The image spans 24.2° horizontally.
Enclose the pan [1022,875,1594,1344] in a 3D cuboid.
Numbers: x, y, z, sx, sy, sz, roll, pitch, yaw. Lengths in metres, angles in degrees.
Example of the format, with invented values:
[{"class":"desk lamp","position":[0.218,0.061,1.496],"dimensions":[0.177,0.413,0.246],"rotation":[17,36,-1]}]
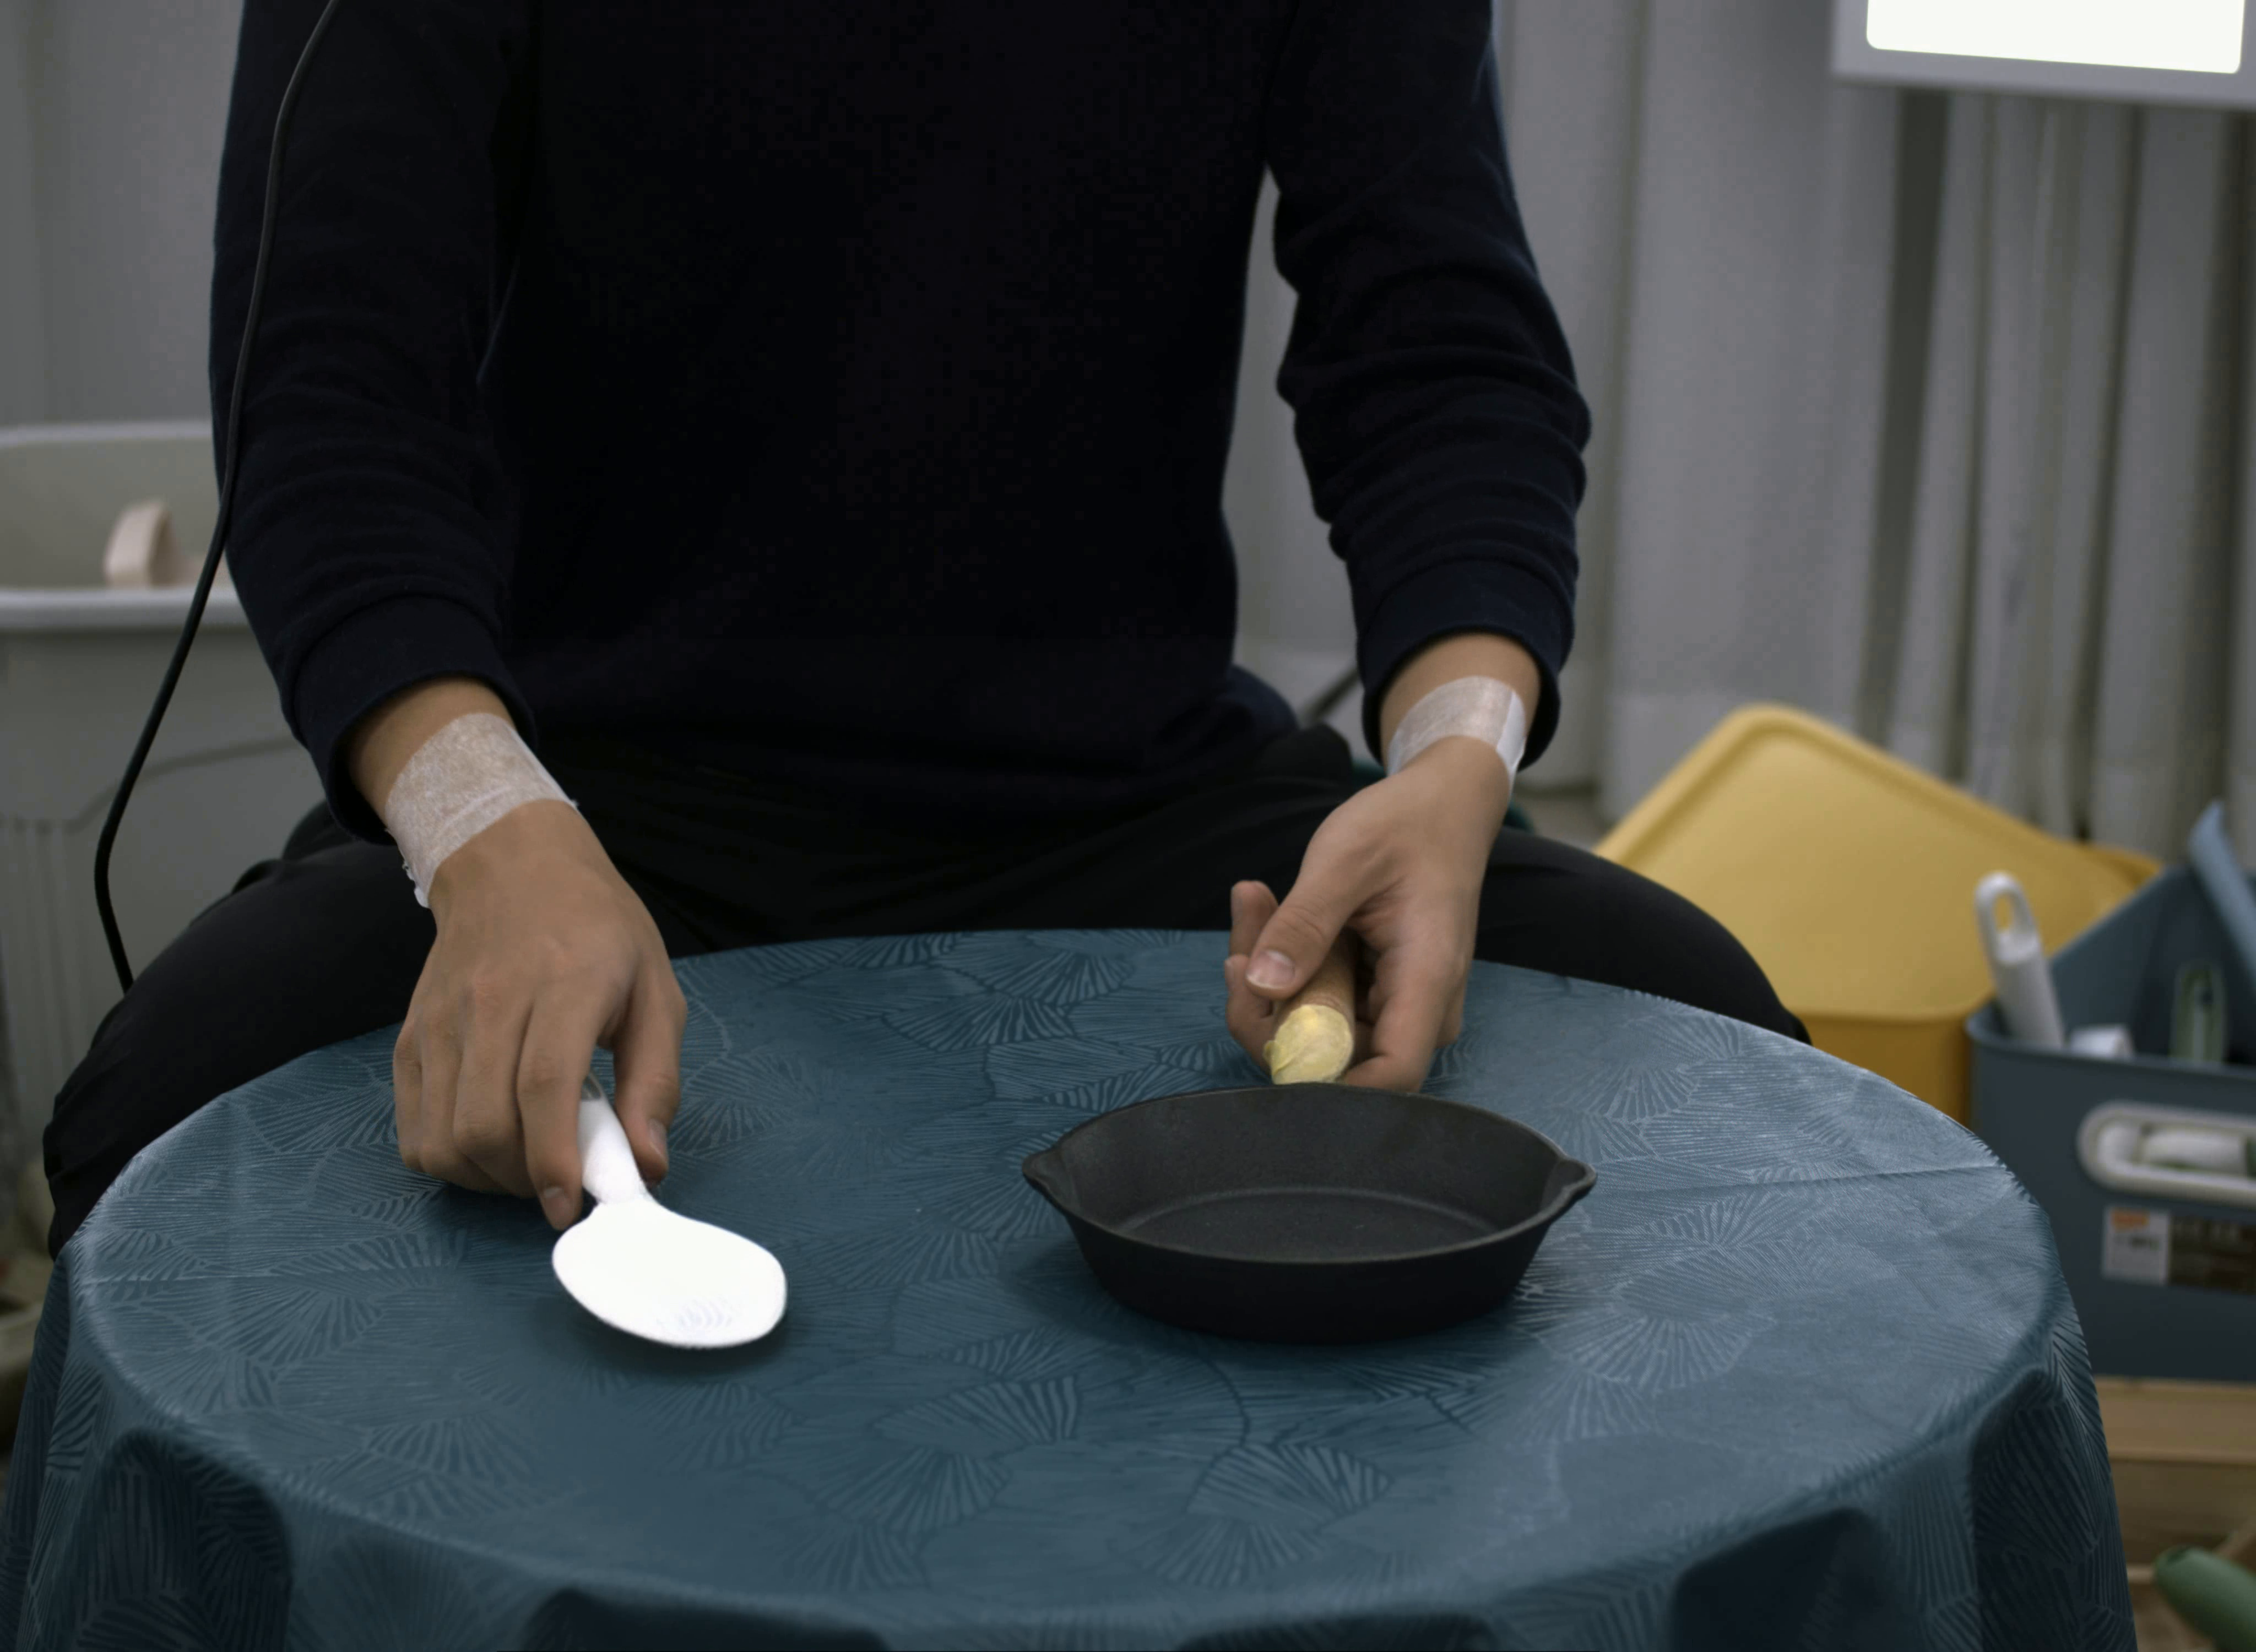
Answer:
[{"class":"pan","position":[0.060,0.084,1.631],"dimensions":[0.168,0.050,0.323],"rotation":[2,17,5]}]

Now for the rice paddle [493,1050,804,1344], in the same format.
[{"class":"rice paddle","position":[-0.148,0.112,1.558],"dimensions":[0.069,0.029,0.203],"rotation":[-2,17,-21]}]
